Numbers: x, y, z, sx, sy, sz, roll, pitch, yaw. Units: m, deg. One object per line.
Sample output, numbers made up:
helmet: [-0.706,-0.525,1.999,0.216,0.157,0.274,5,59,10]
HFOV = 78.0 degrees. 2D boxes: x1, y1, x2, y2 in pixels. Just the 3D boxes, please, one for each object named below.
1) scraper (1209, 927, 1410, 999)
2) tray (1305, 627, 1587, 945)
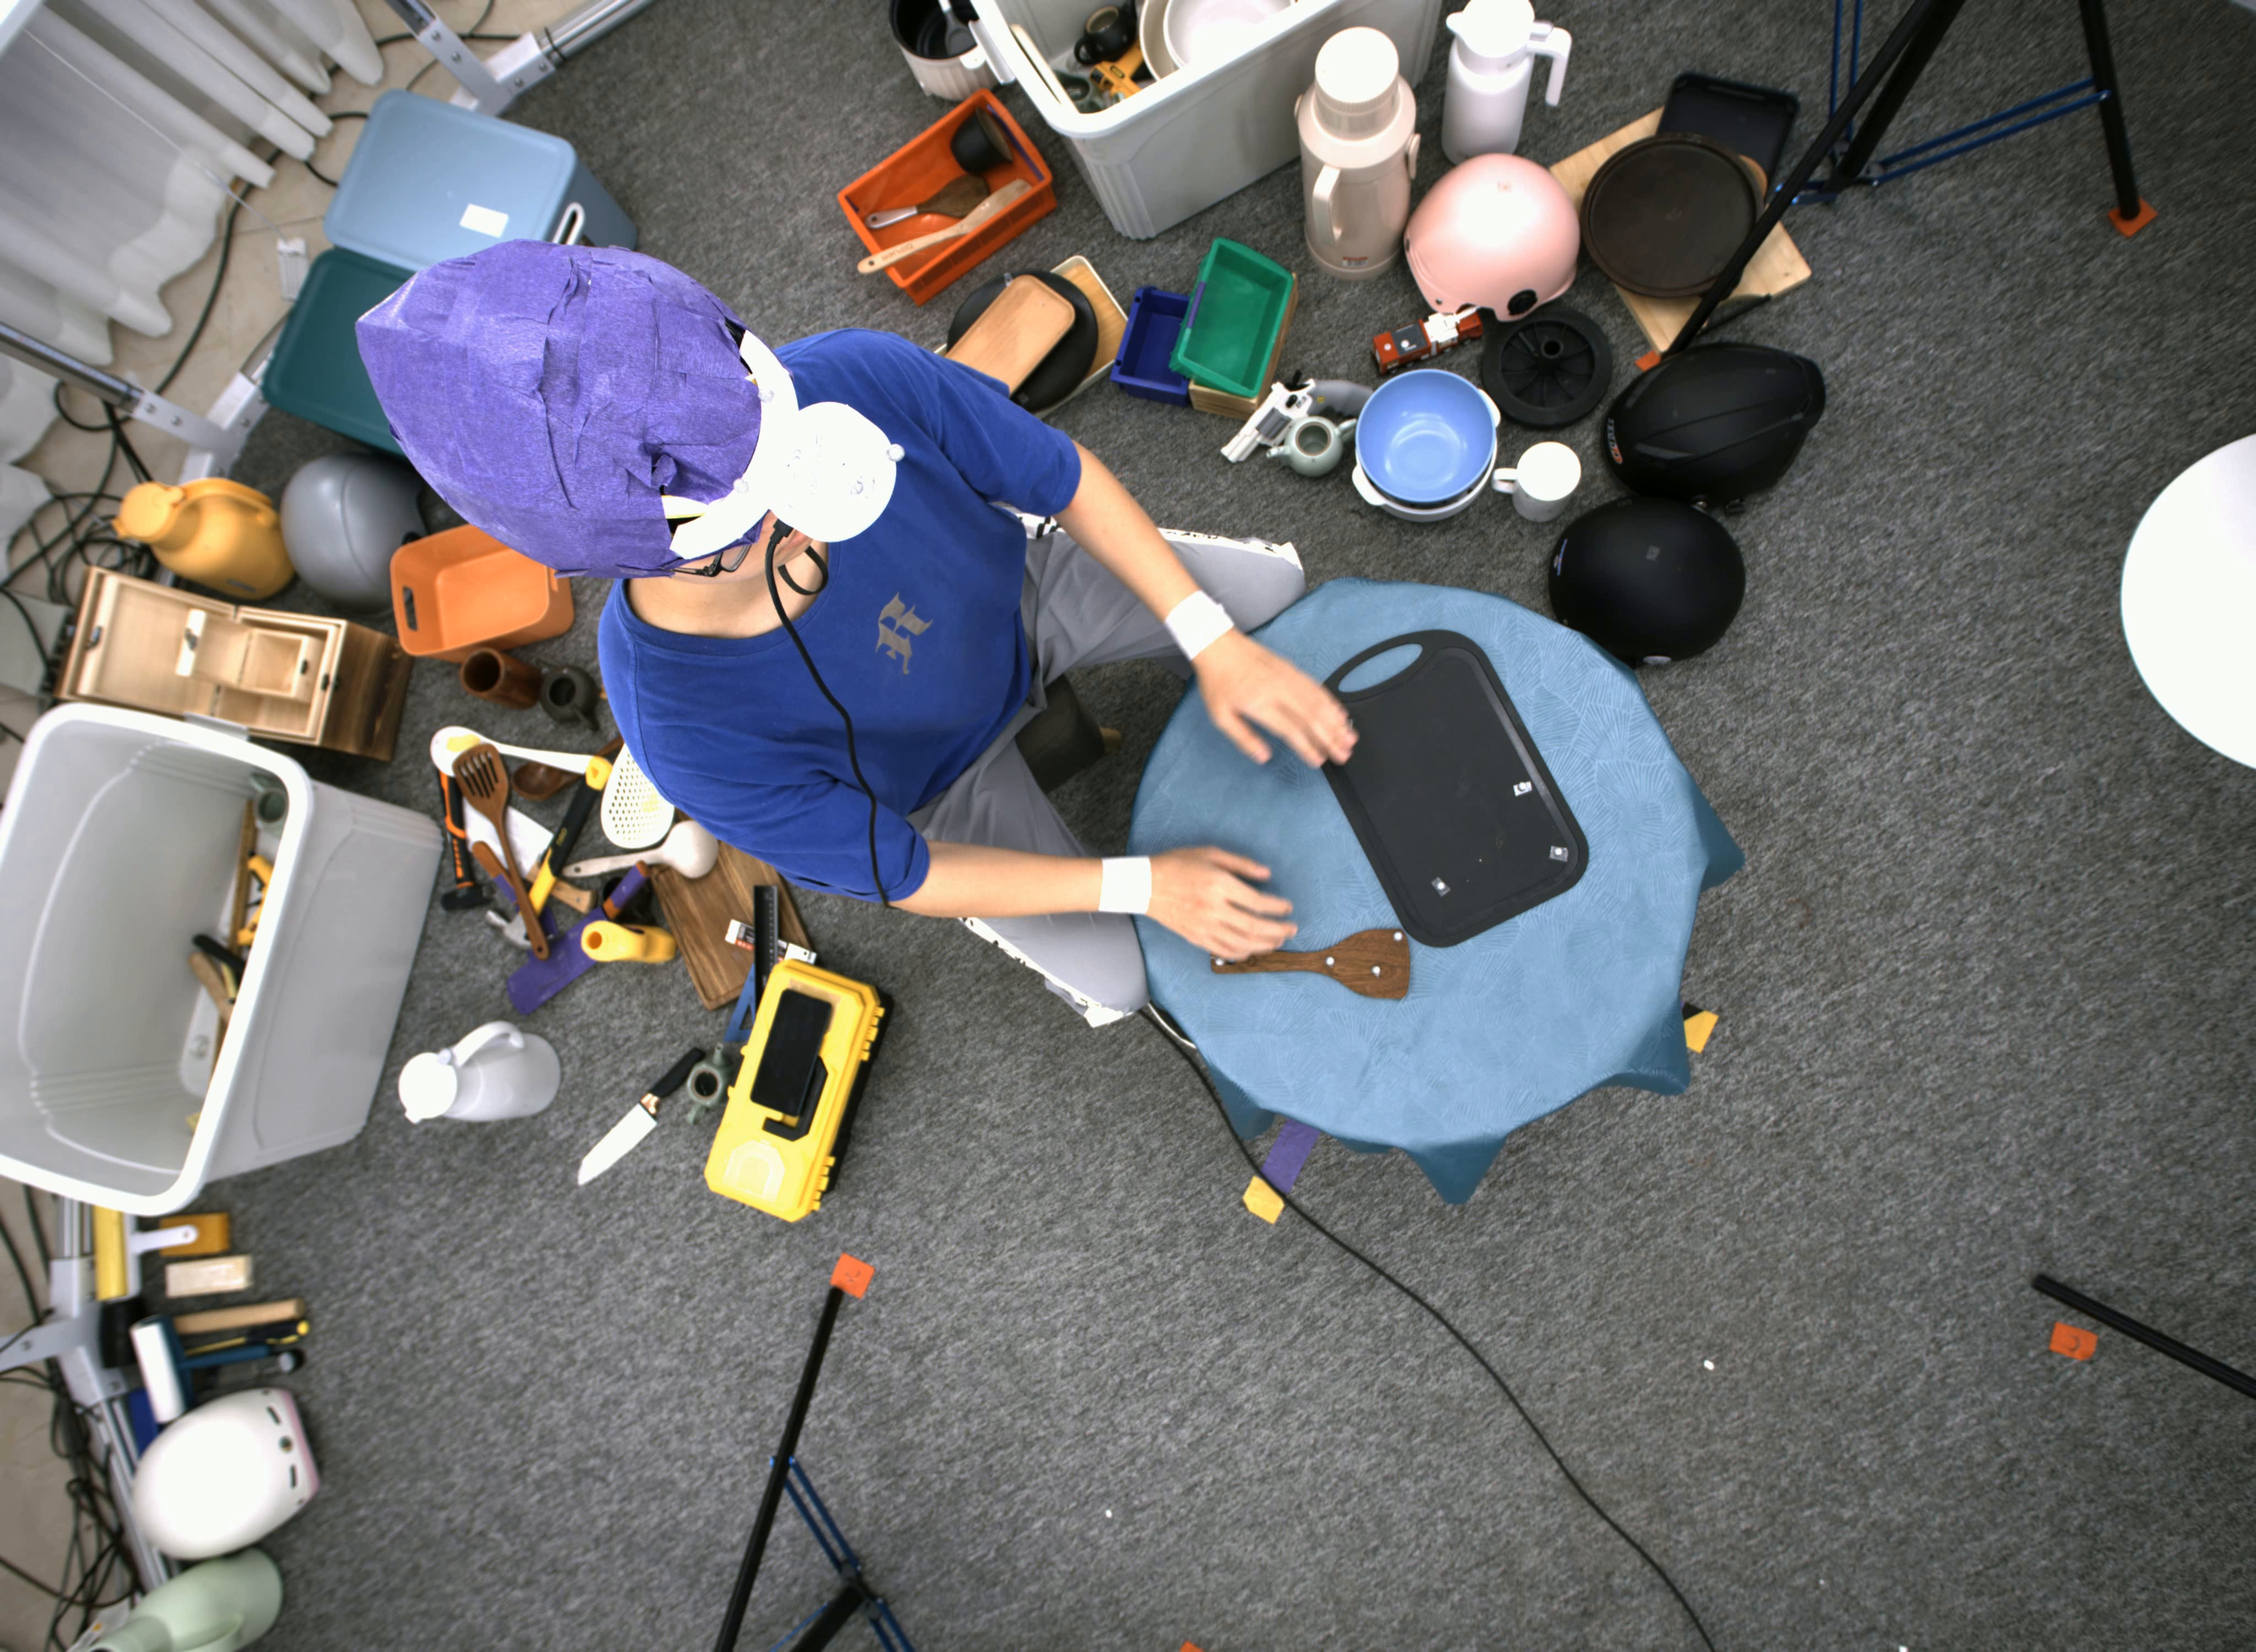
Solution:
scraper: [0.191,0.142,1.465,0.212,0.011,0.075,0,87,11]
tray: [0.328,-0.052,1.450,0.212,0.010,0.323,-27,83,8]
